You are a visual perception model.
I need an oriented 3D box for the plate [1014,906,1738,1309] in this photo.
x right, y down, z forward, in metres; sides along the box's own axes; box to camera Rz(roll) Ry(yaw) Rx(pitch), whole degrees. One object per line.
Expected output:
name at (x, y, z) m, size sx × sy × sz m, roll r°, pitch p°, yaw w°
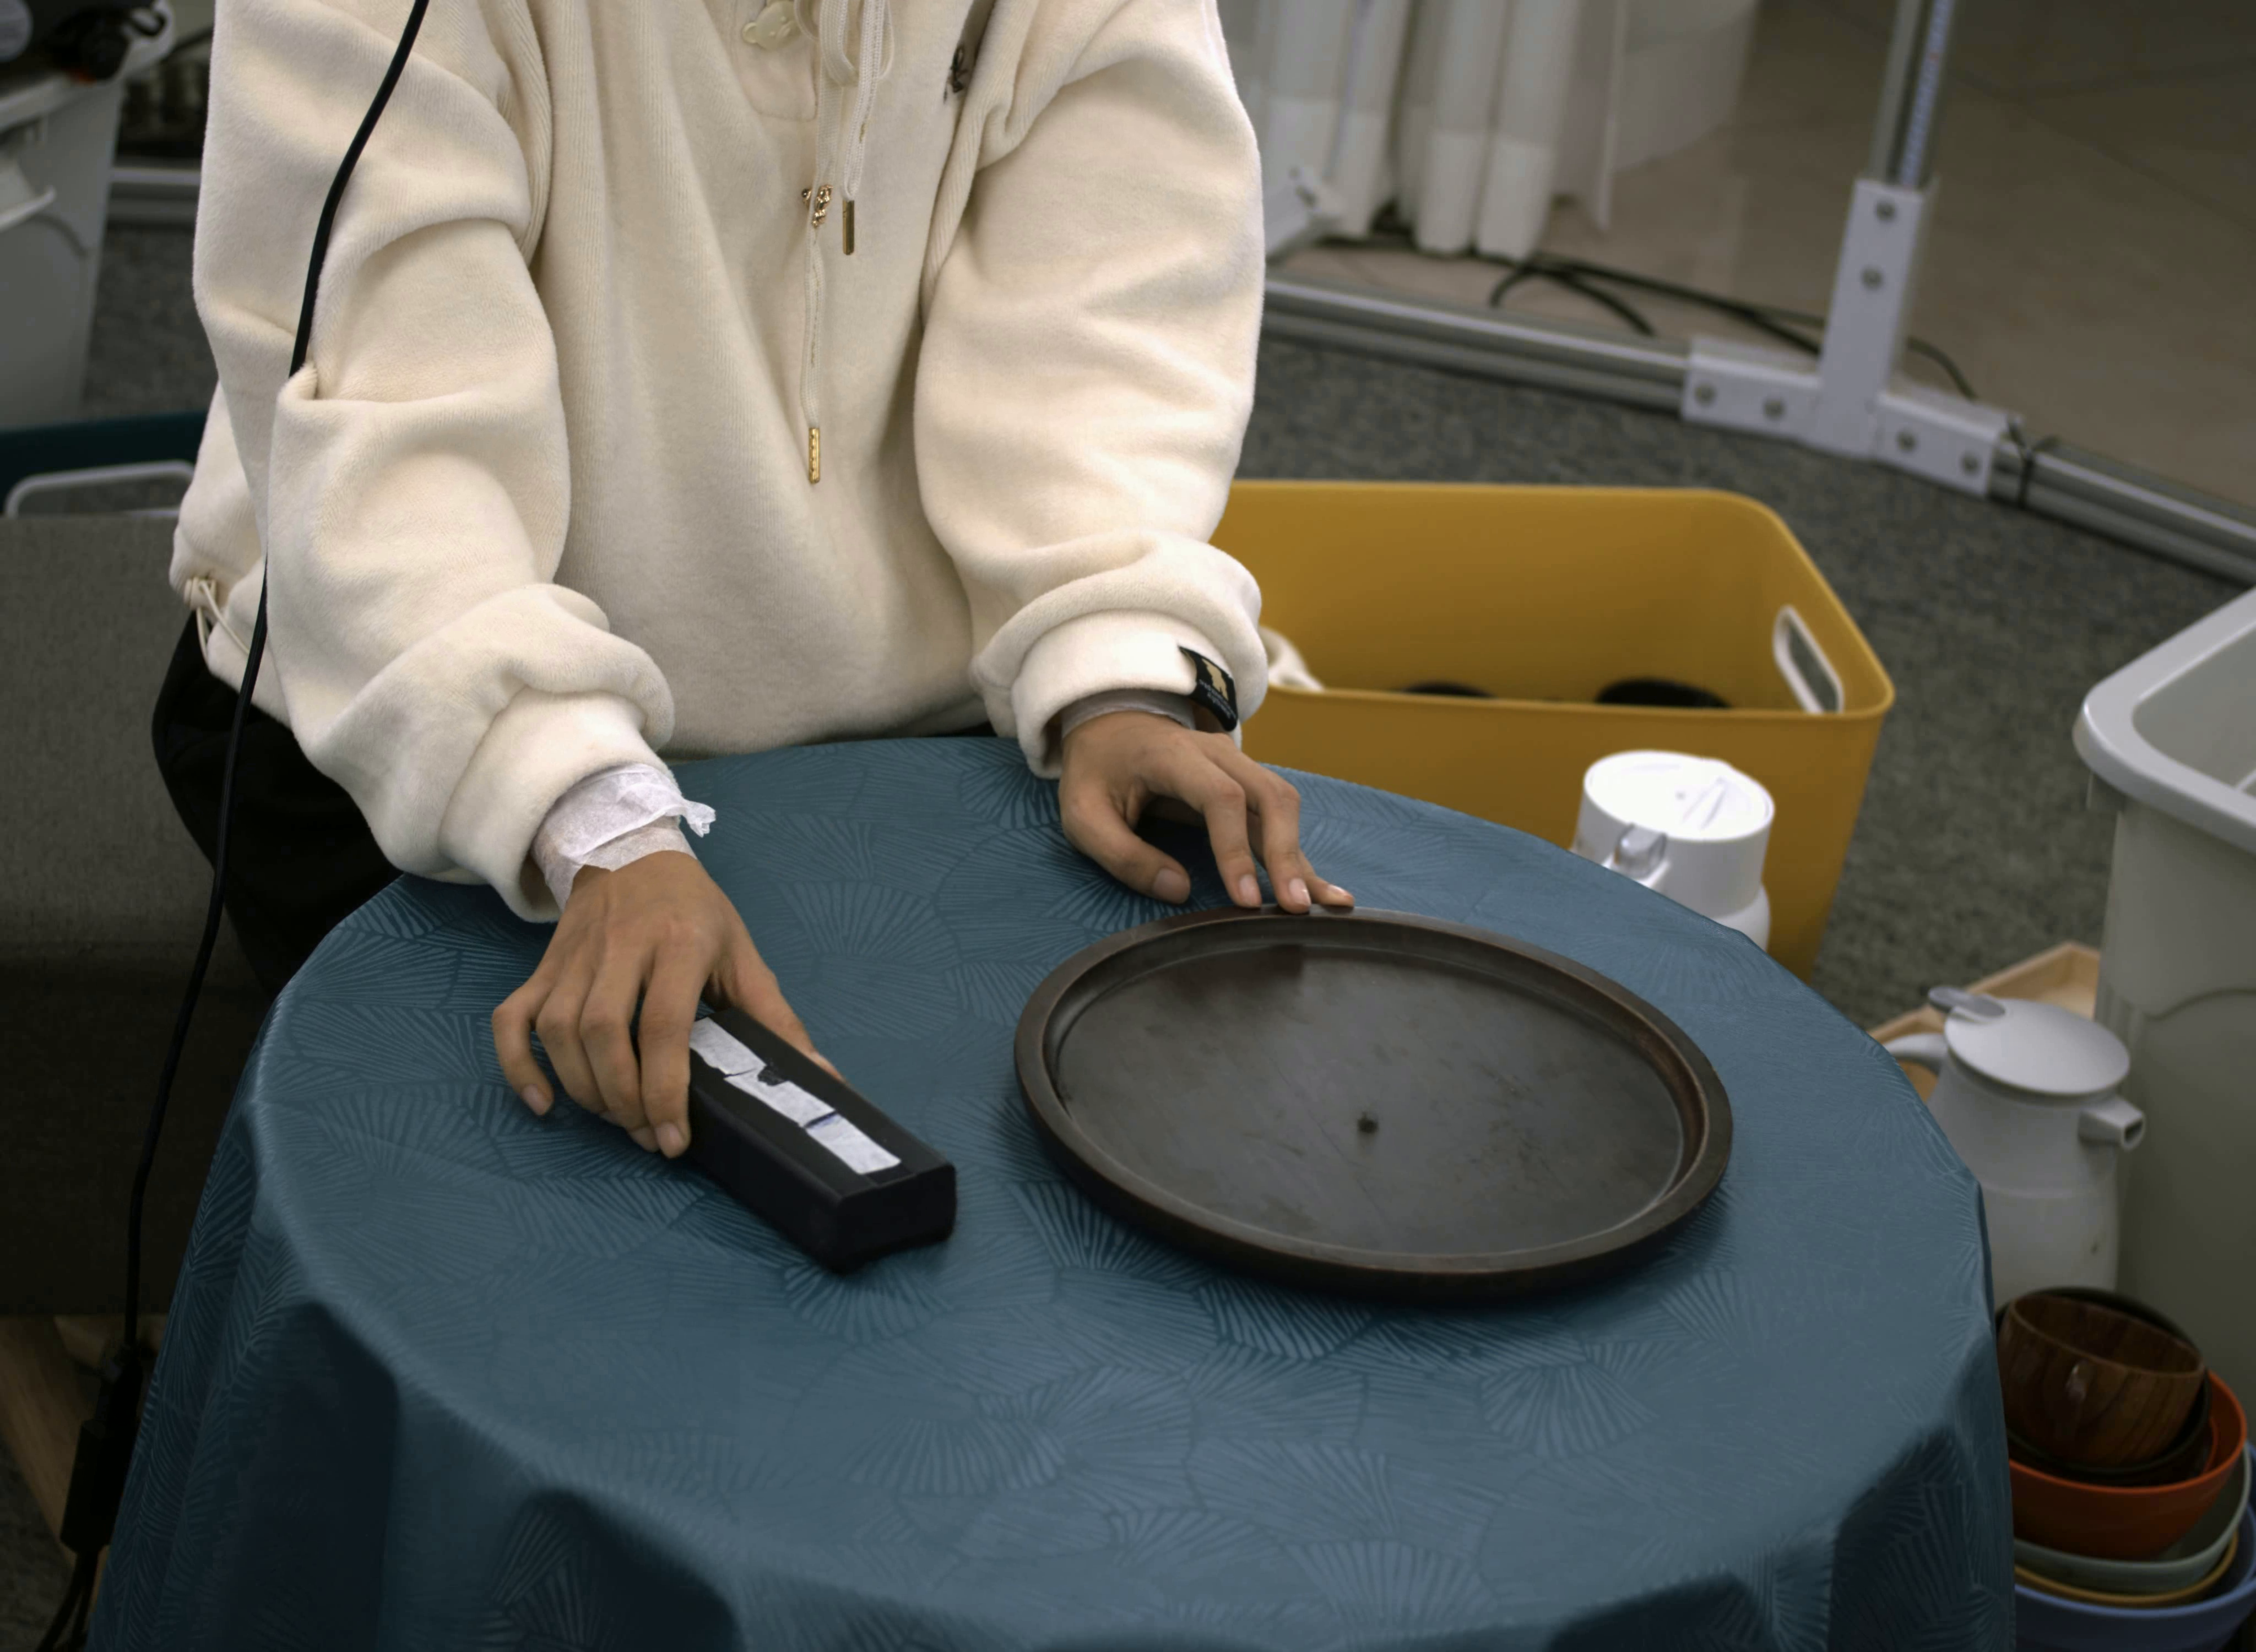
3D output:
plate at (0.085, 0.095, 1.850) m, size 0.254 × 0.029 × 0.256 m, roll 5°, pitch 28°, yaw -3°

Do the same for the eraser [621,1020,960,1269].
eraser at (-0.114, 0.106, 1.783) m, size 0.053 × 0.030 × 0.126 m, roll -13°, pitch 31°, yaw -38°
